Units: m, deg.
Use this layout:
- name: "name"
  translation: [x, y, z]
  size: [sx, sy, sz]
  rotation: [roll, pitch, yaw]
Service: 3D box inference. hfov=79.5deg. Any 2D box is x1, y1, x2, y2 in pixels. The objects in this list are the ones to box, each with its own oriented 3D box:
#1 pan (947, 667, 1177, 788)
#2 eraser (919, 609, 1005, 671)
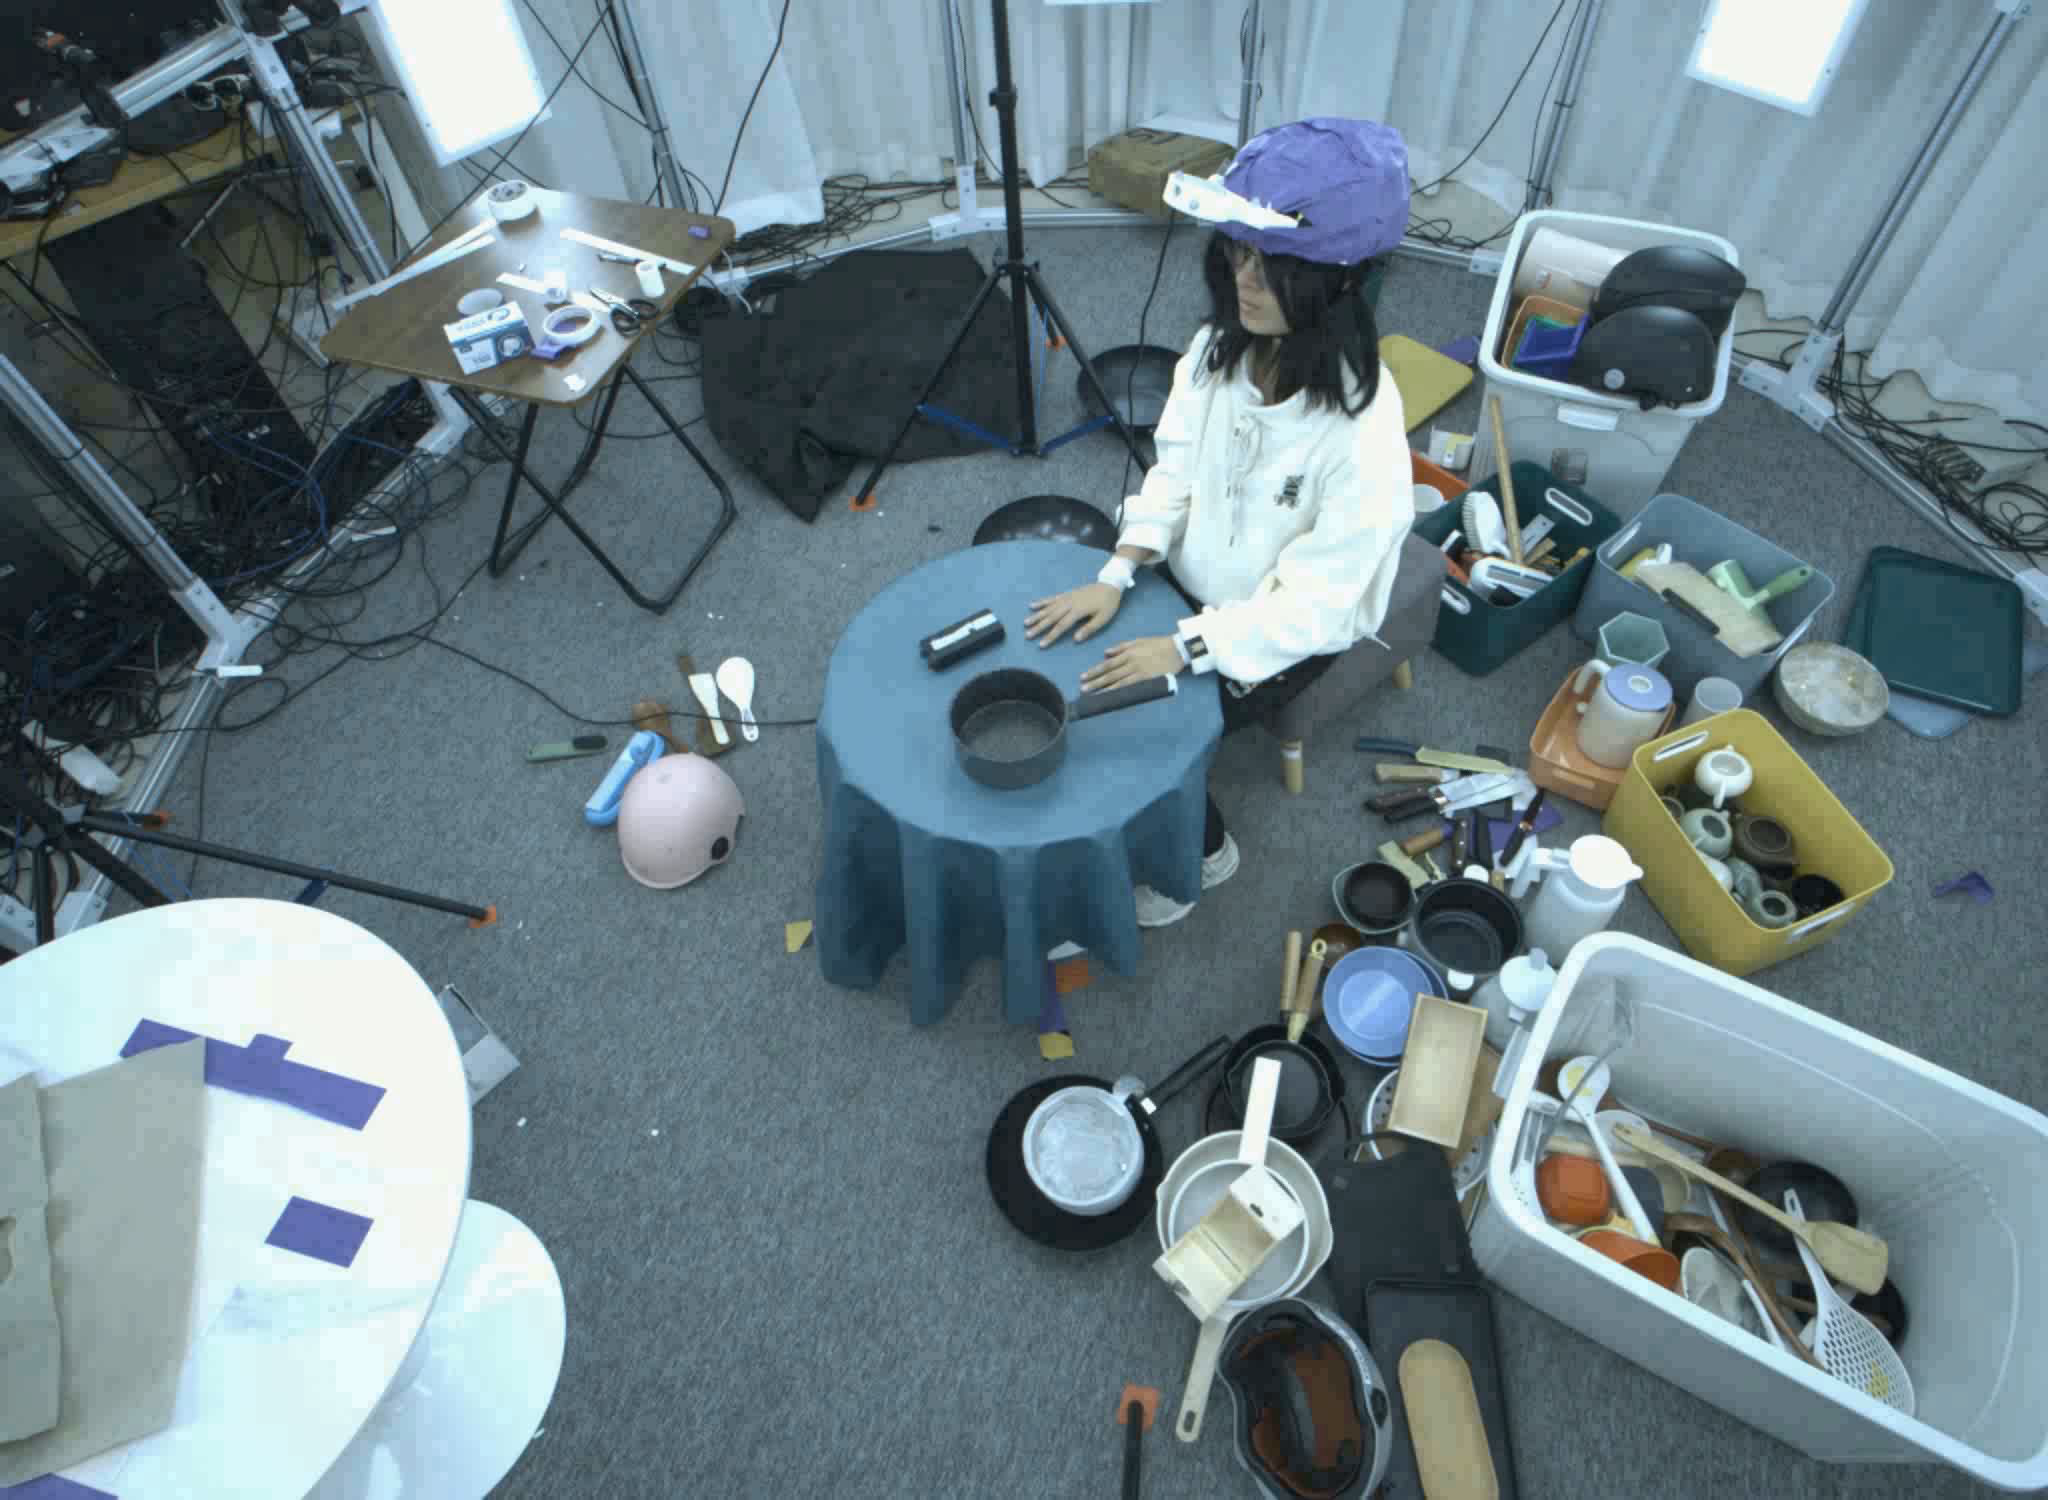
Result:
- name: "pan"
  translation: [0.057, -0.045, 1.766]
  size: [0.329, 0.087, 0.169]
  rotation: [-9, 55, -2]
- name: "eraser"
  translation: [-0.096, -0.170, 1.895]
  size: [0.126, 0.031, 0.052]
  rotation: [-27, 59, -17]
